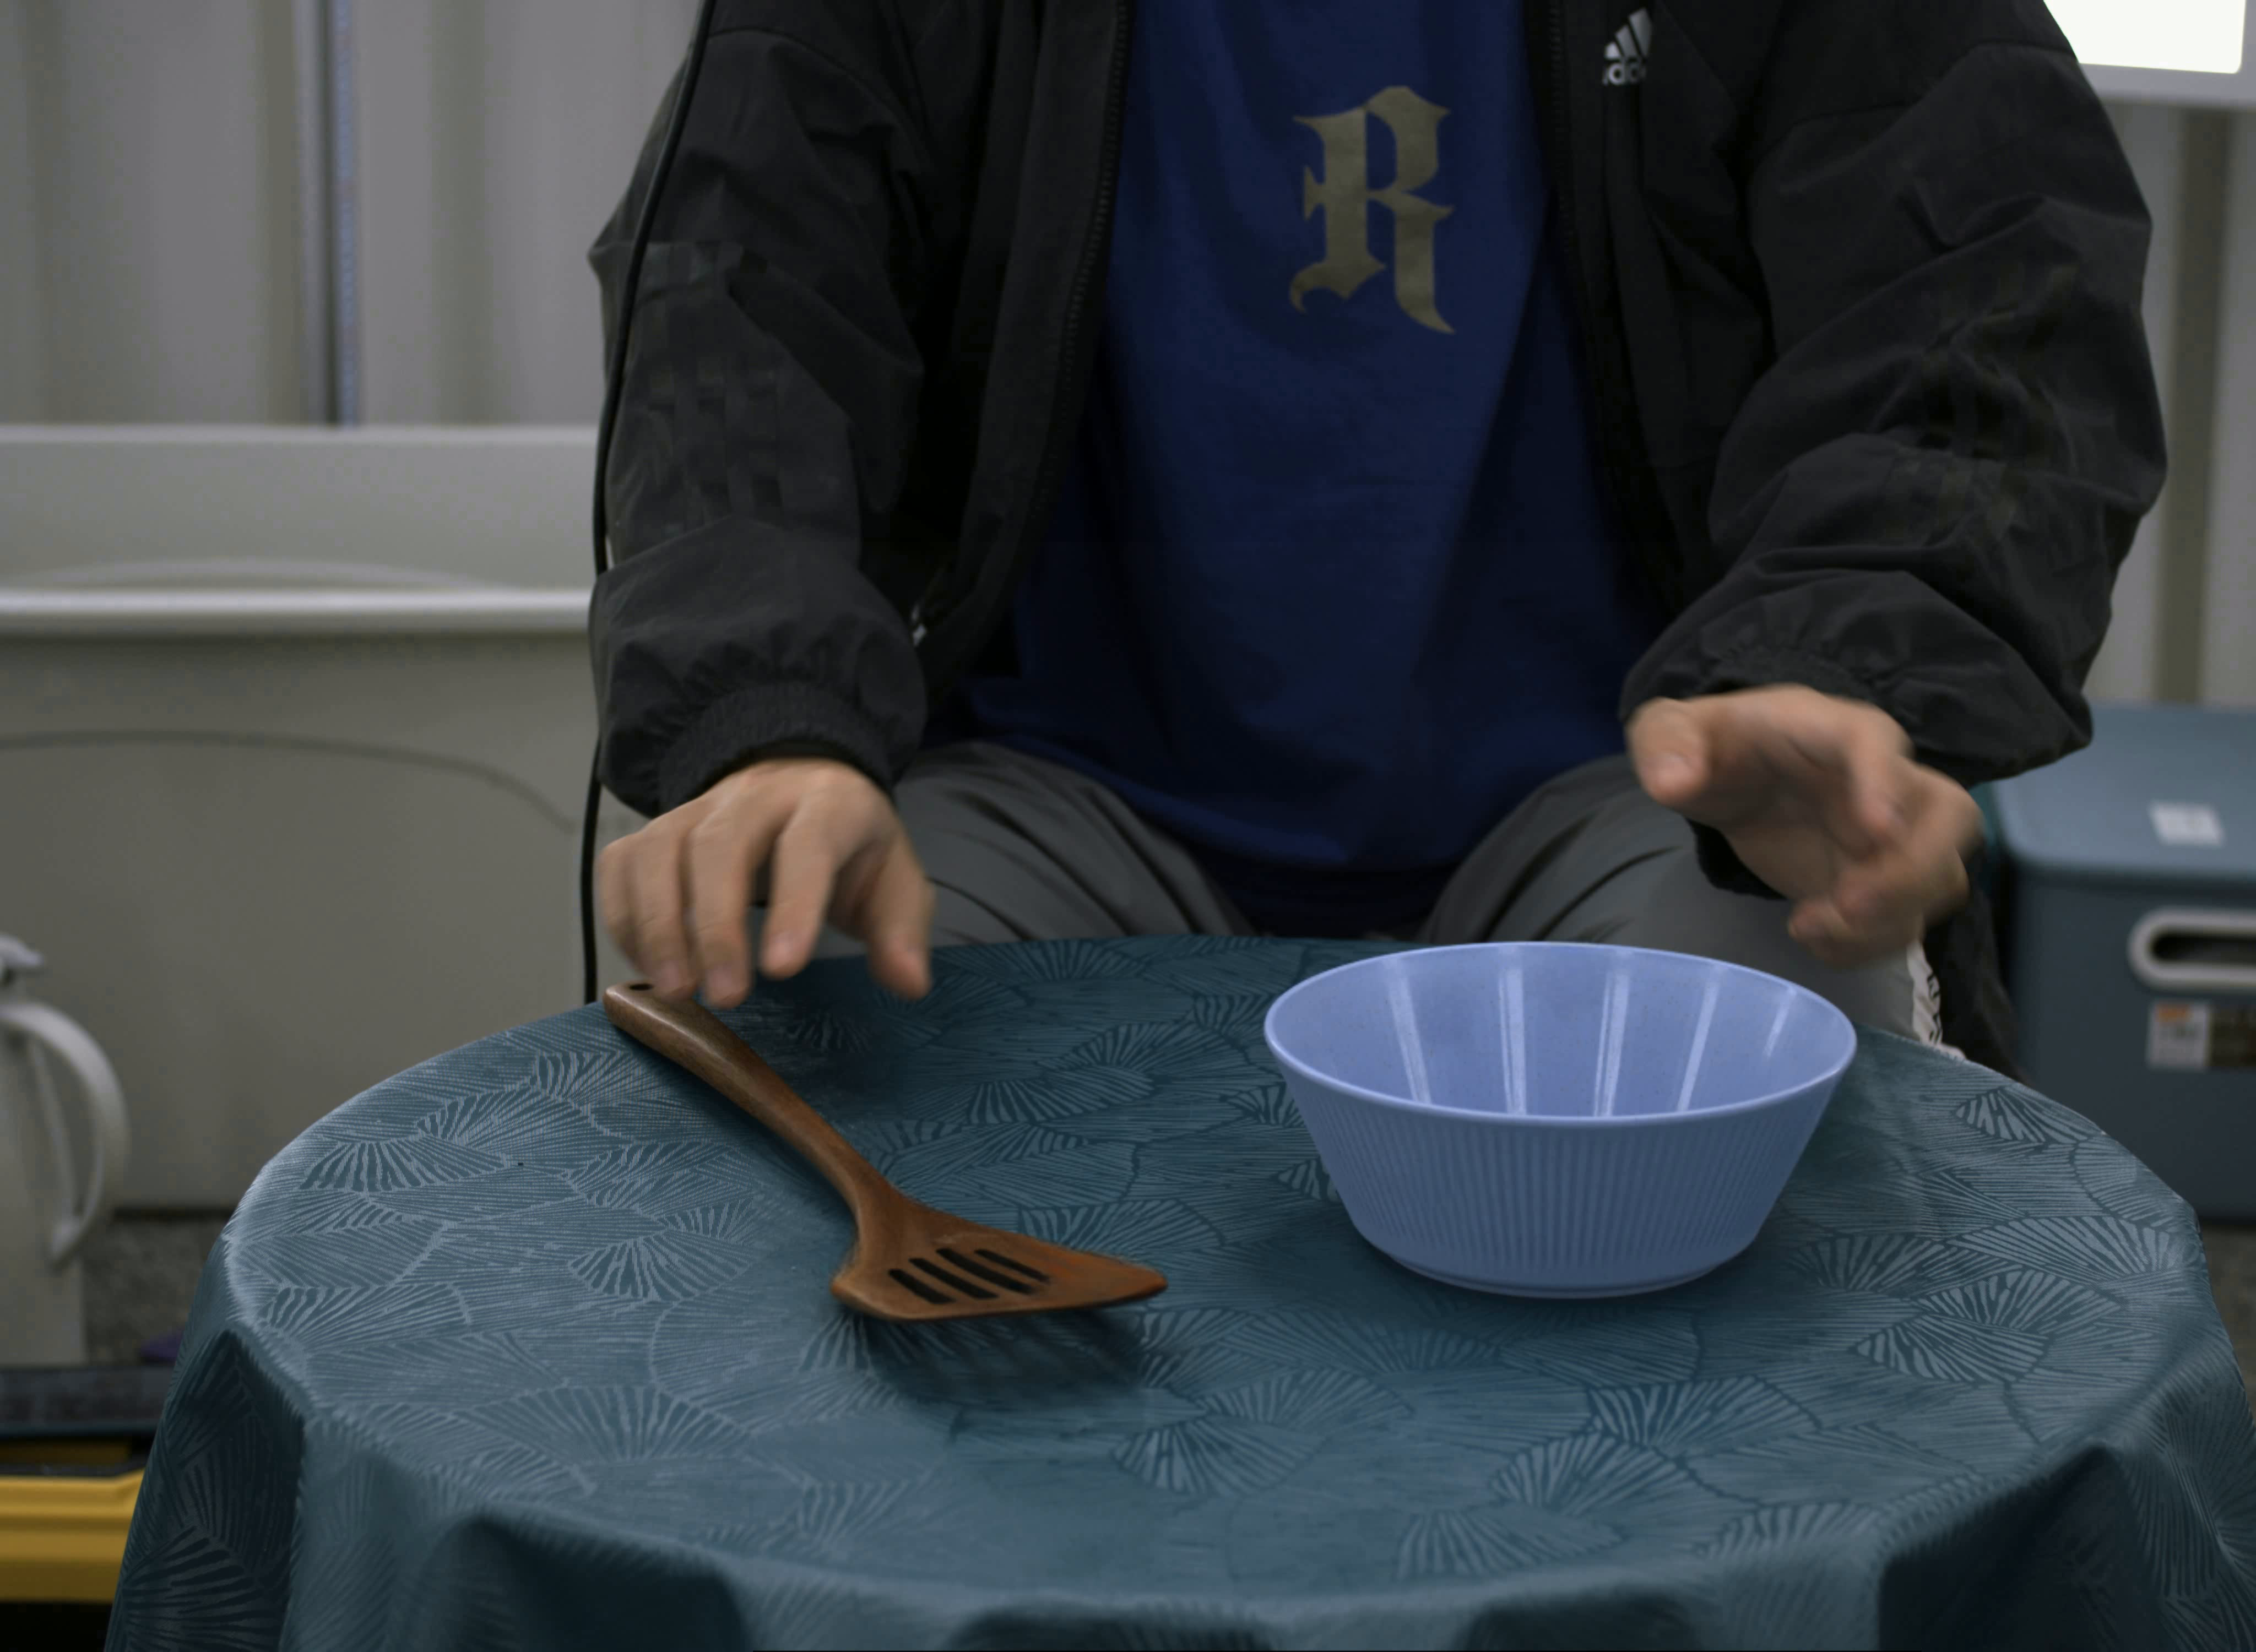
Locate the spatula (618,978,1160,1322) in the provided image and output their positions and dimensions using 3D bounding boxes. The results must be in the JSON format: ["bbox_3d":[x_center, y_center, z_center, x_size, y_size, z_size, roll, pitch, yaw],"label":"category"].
[{"bbox_3d":[-0.095,0.100,1.626,0.086,0.024,0.382,-4,15,-22],"label":"spatula"}]

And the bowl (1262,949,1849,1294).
[{"bbox_3d":[0.127,0.090,1.574,0.175,0.071,0.175,1,14,0],"label":"bowl"}]
